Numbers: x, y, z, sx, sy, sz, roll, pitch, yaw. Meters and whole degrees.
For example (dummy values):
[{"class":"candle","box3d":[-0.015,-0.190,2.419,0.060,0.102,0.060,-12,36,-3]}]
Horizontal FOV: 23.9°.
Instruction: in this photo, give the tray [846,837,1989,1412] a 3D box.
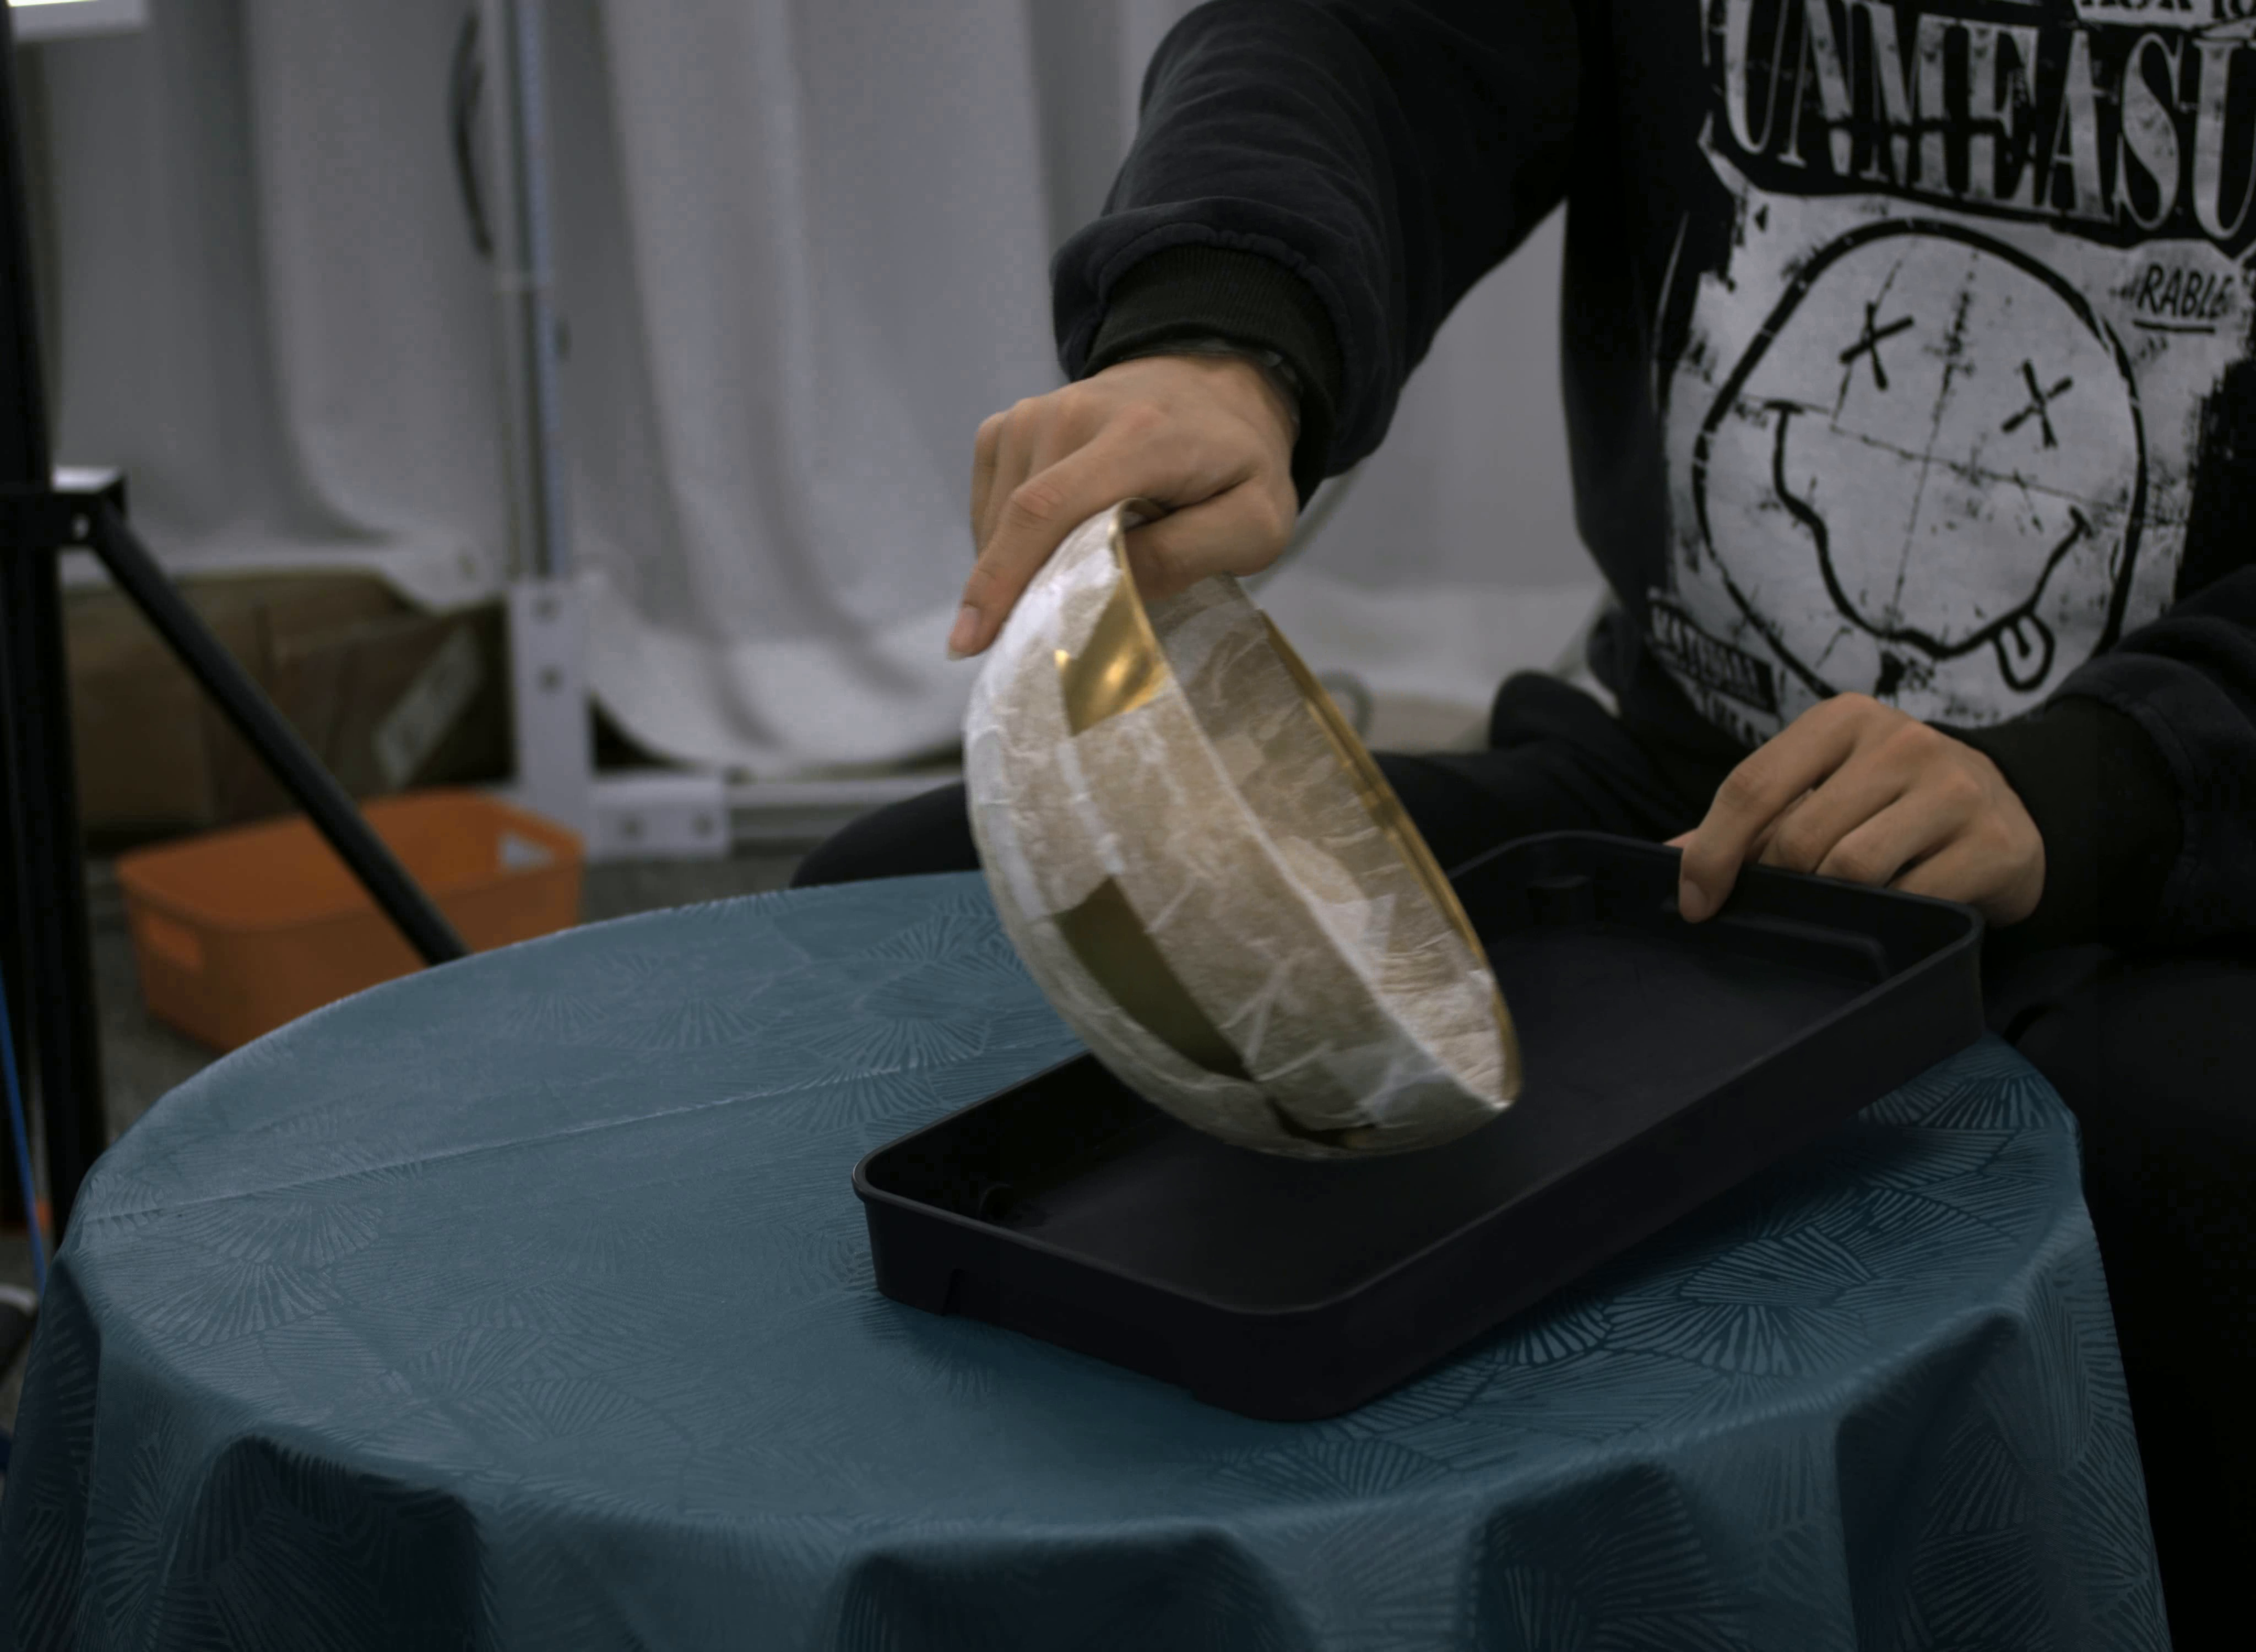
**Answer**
[{"class":"tray","box3d":[0.088,0.078,1.522,0.311,0.037,0.188,-23,23,-38]}]

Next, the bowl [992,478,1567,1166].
[{"class":"bowl","box3d":[0.026,0.015,1.475,0.095,0.214,0.214,-34,9,14]}]
